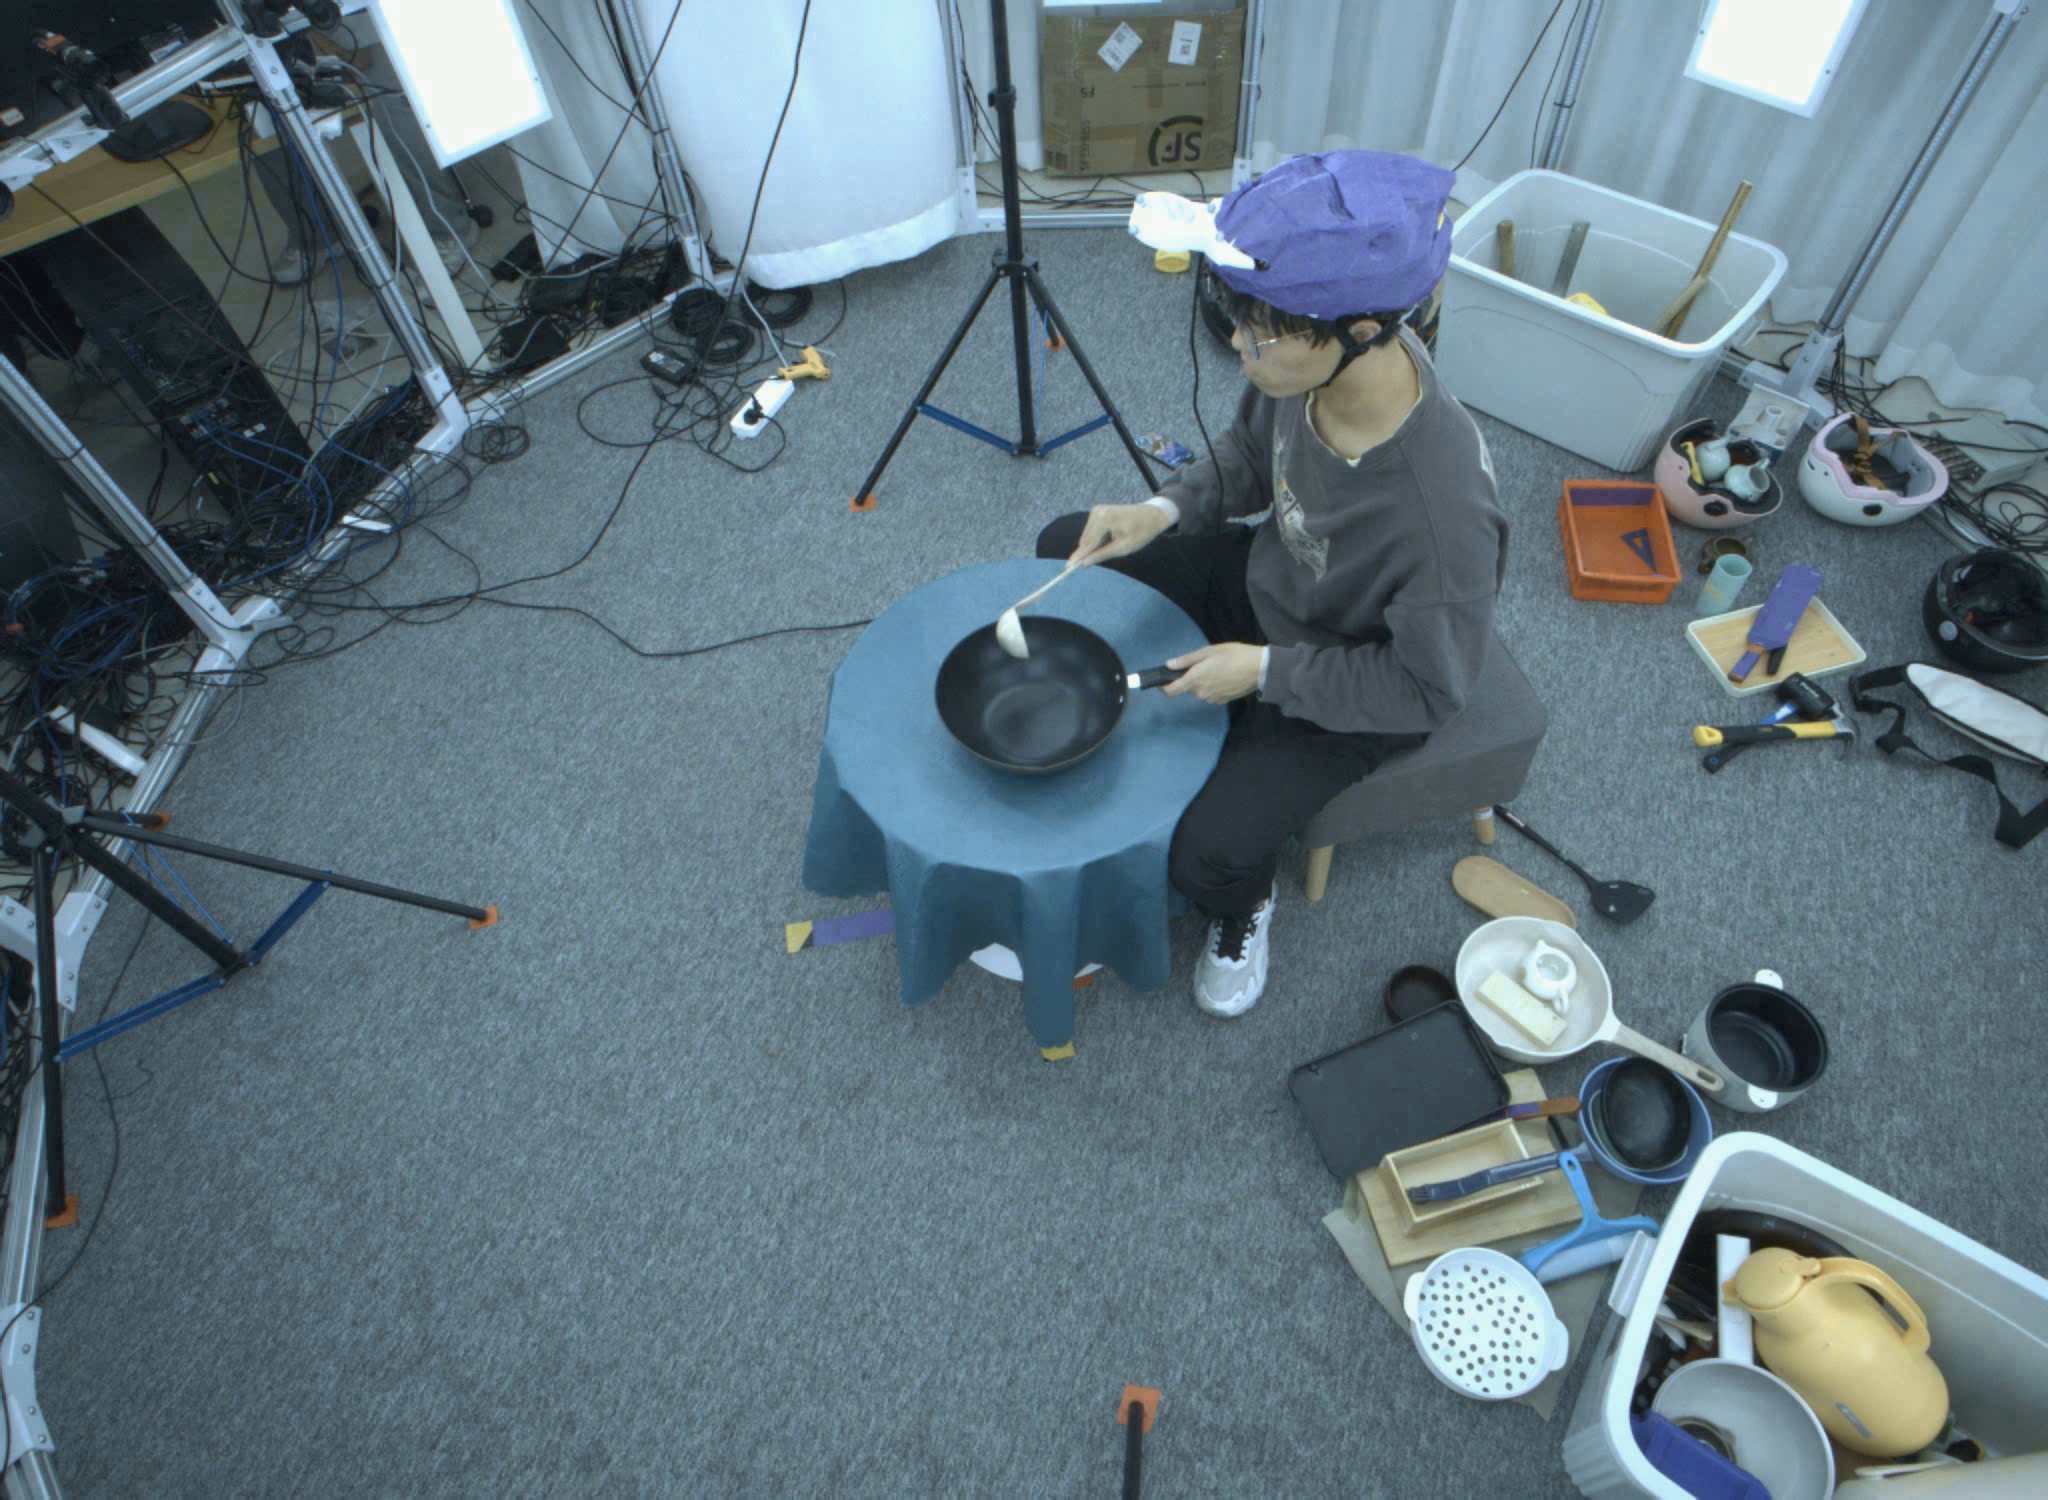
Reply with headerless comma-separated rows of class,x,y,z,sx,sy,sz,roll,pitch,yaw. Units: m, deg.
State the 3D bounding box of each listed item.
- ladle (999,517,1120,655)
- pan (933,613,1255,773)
ladle,0.069,-0.236,1.772,0.255,0.073,0.071,-42,63,-9
pan,0.101,-0.079,1.788,0.465,0.088,0.284,-6,54,-5
